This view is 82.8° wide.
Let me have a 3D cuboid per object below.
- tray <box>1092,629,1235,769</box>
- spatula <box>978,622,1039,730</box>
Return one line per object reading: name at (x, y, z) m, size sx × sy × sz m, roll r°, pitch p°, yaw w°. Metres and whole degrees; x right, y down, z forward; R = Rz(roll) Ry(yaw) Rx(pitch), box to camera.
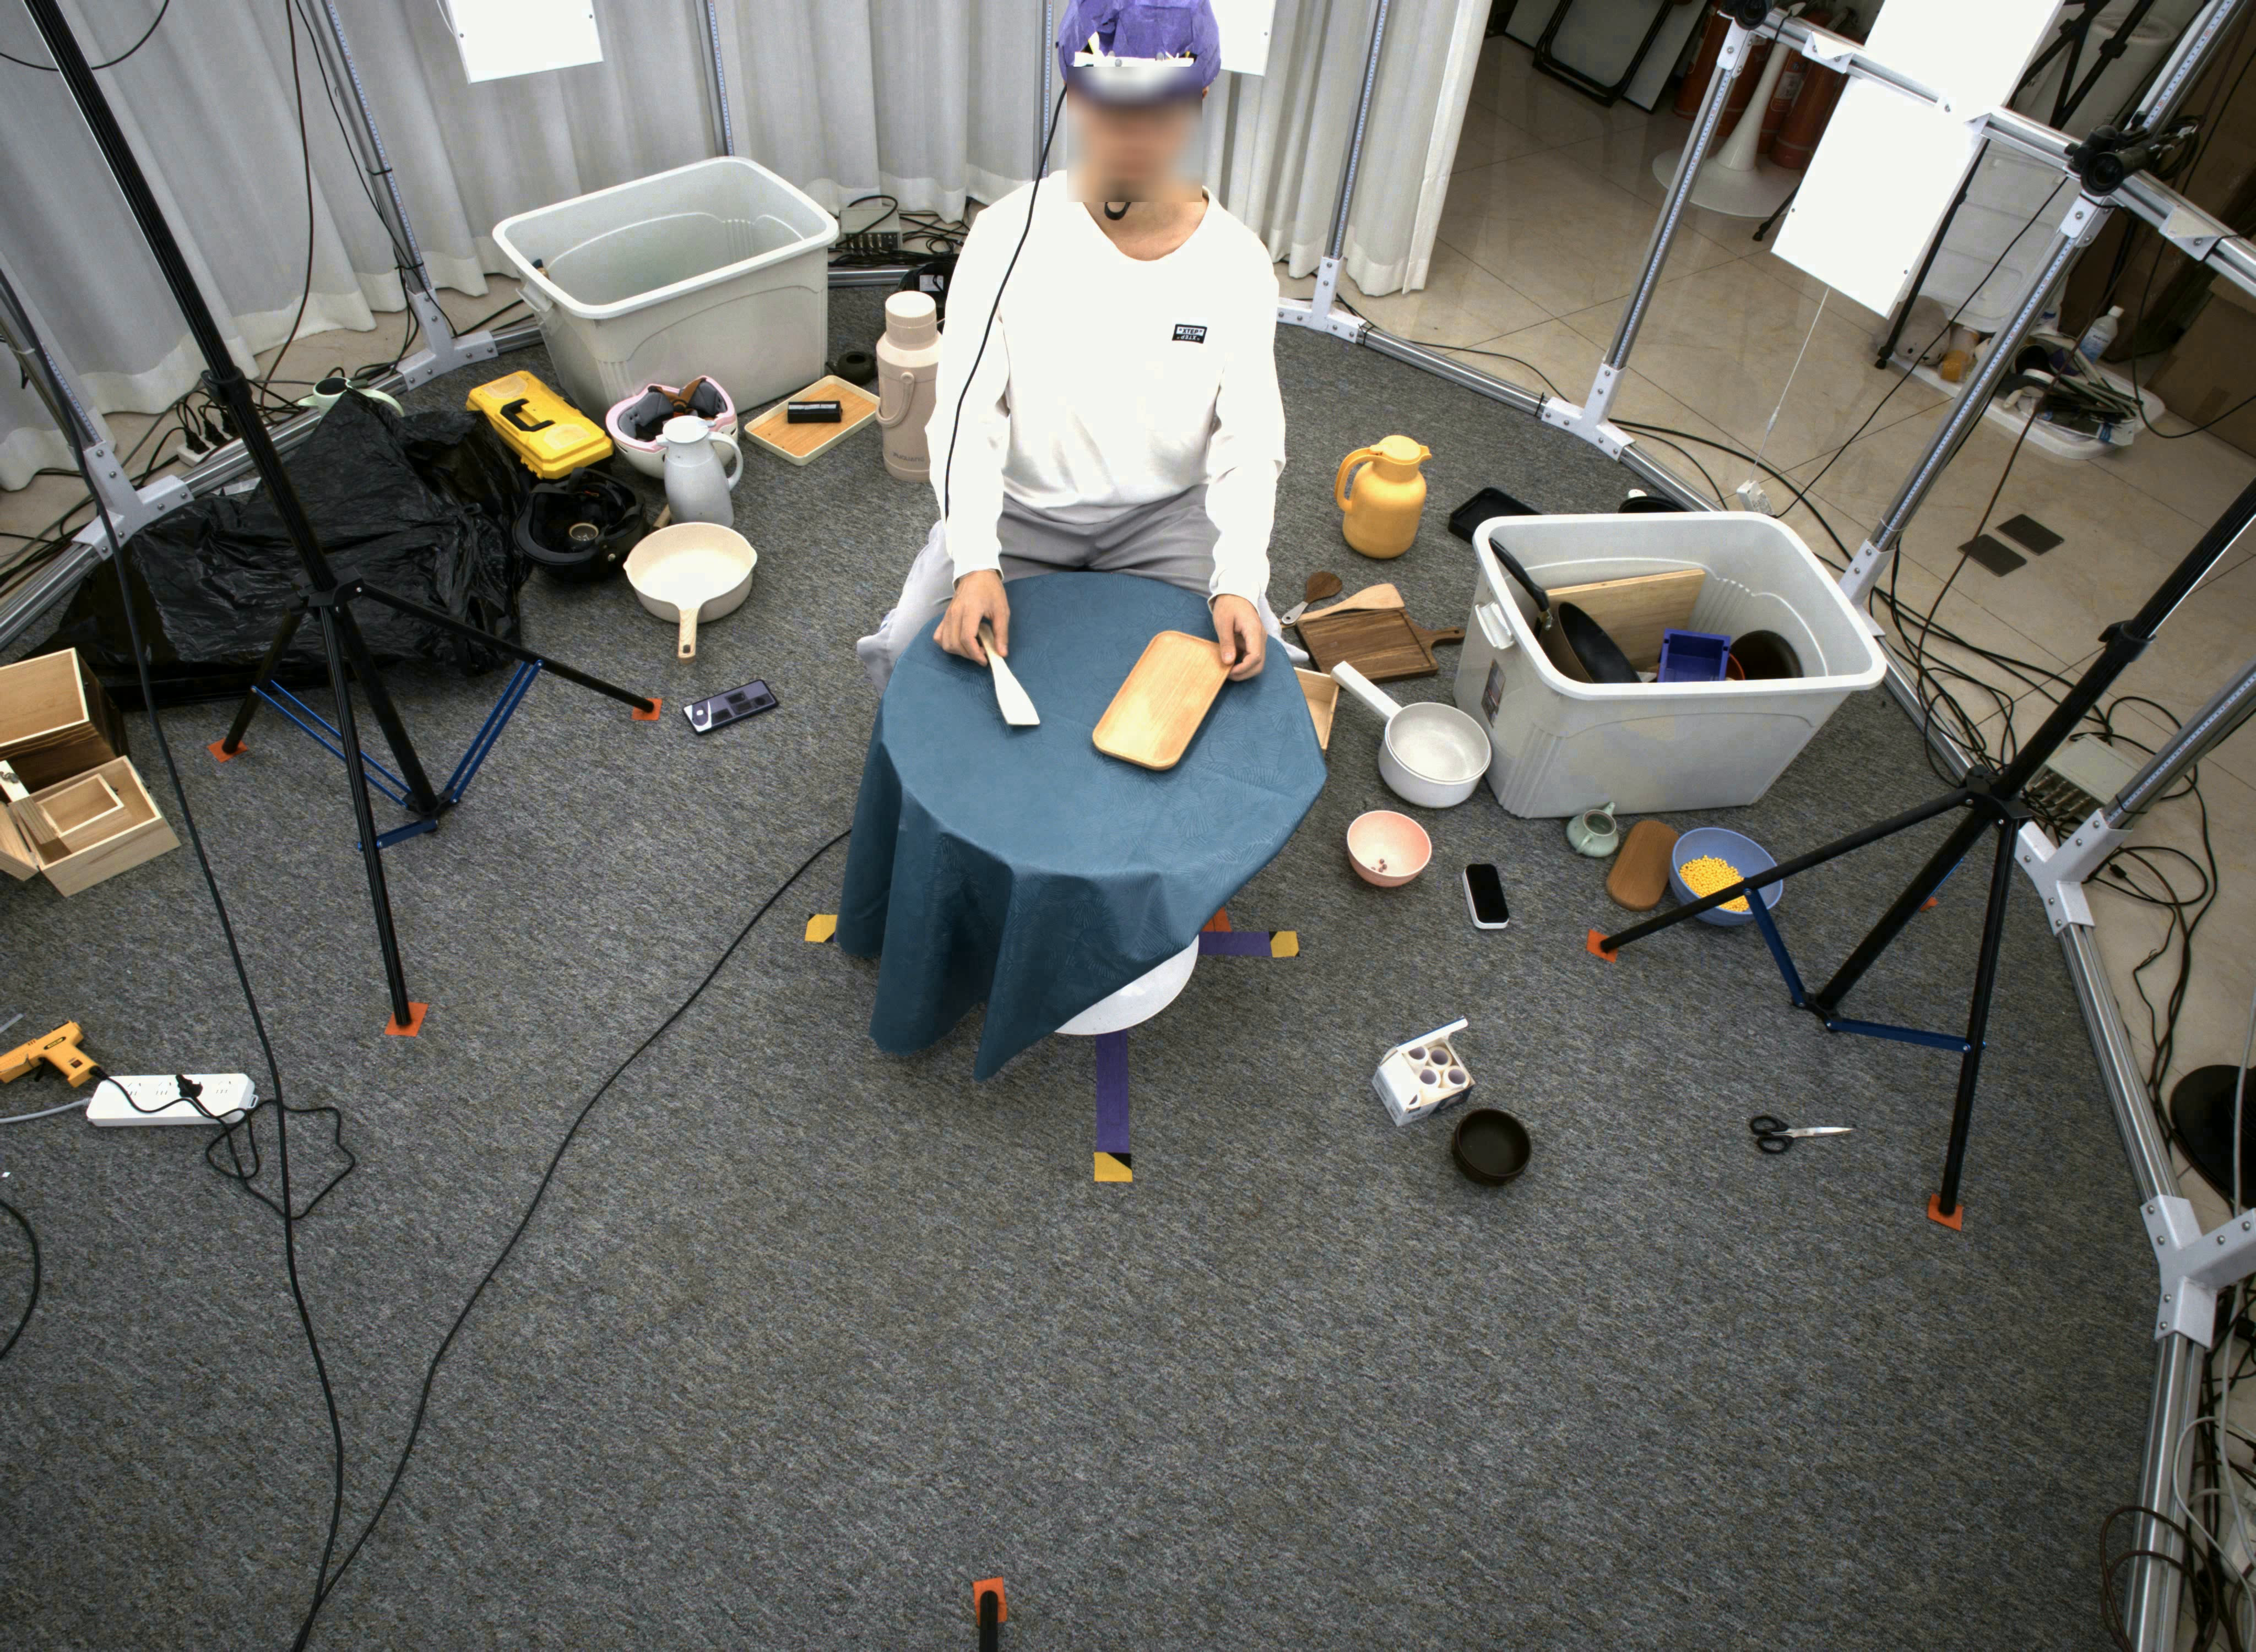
tray at (0.052, -0.181, 1.799) m, size 0.131 × 0.022 × 0.255 m, roll 20°, pitch 54°, yaw 16°
spatula at (-0.176, -0.215, 1.818) m, size 0.050 × 0.005 × 0.212 m, roll -4°, pitch 52°, yaw -25°
